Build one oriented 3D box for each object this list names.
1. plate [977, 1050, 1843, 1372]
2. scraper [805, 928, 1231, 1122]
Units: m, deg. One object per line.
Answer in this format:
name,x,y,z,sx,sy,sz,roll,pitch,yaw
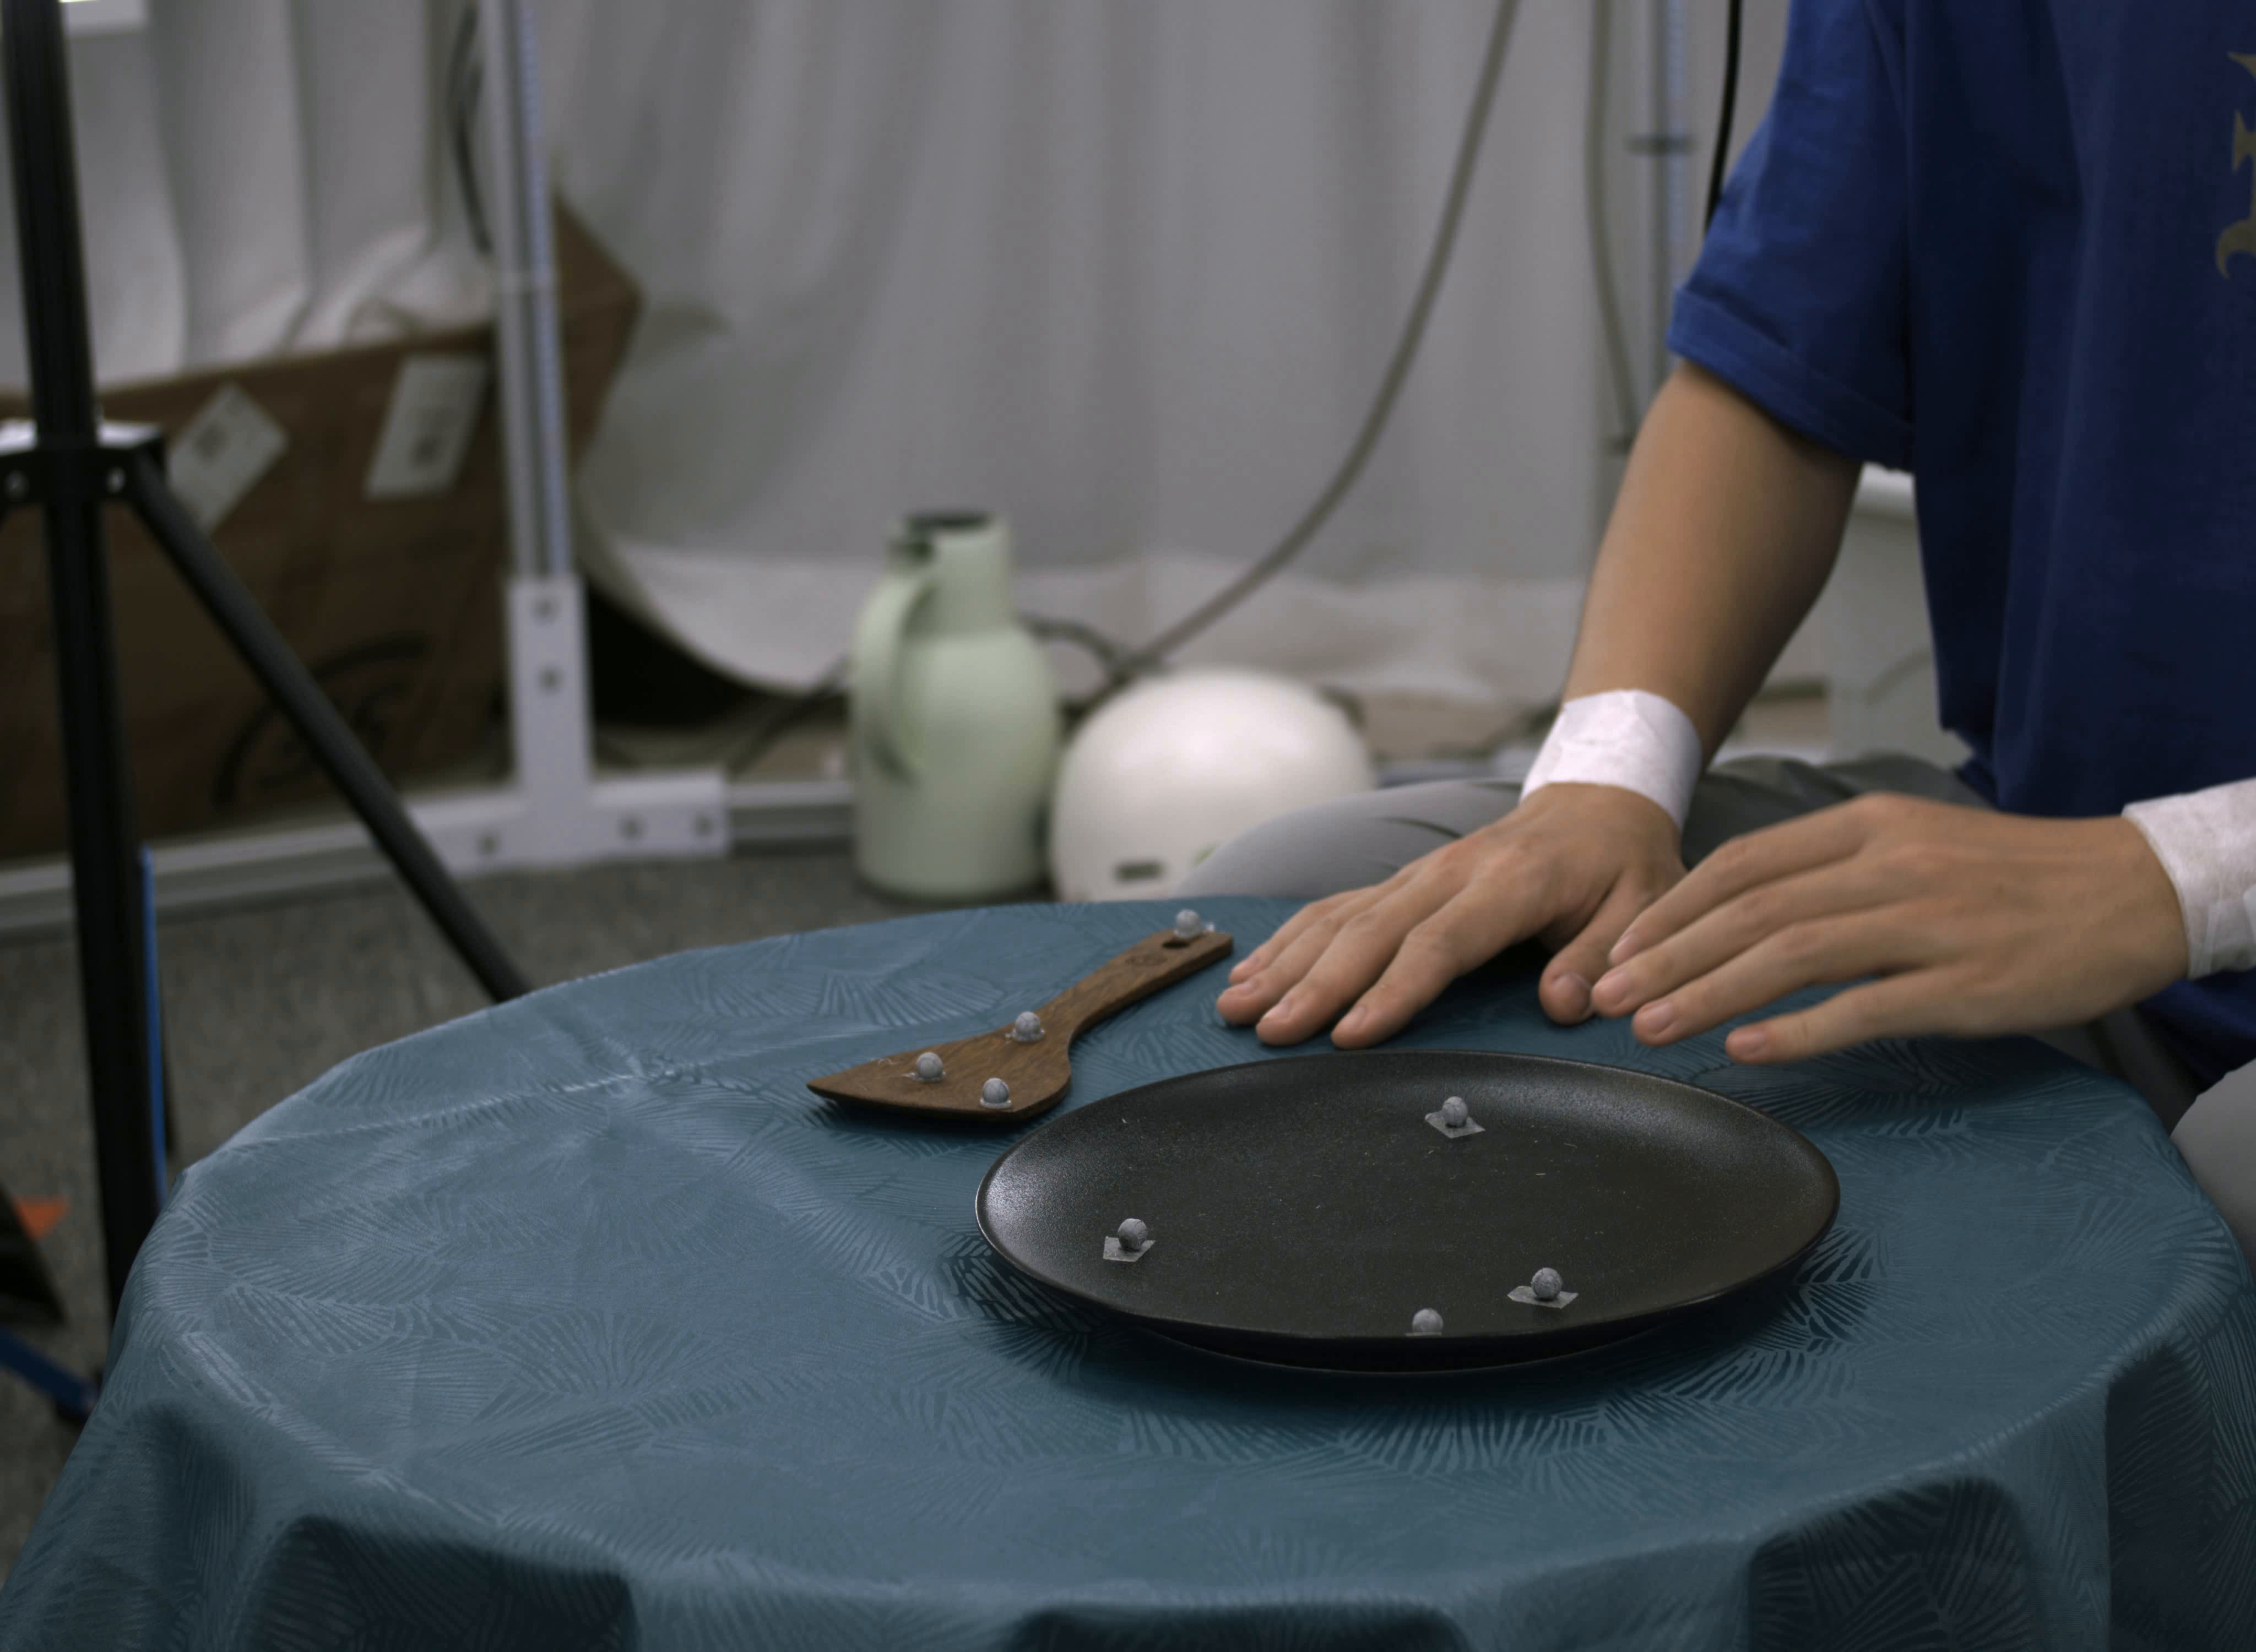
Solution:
plate,0.079,0.111,1.493,0.243,0.023,0.245,-3,16,-1
scraper,-0.023,0.062,1.706,0.077,0.011,0.207,7,18,28
